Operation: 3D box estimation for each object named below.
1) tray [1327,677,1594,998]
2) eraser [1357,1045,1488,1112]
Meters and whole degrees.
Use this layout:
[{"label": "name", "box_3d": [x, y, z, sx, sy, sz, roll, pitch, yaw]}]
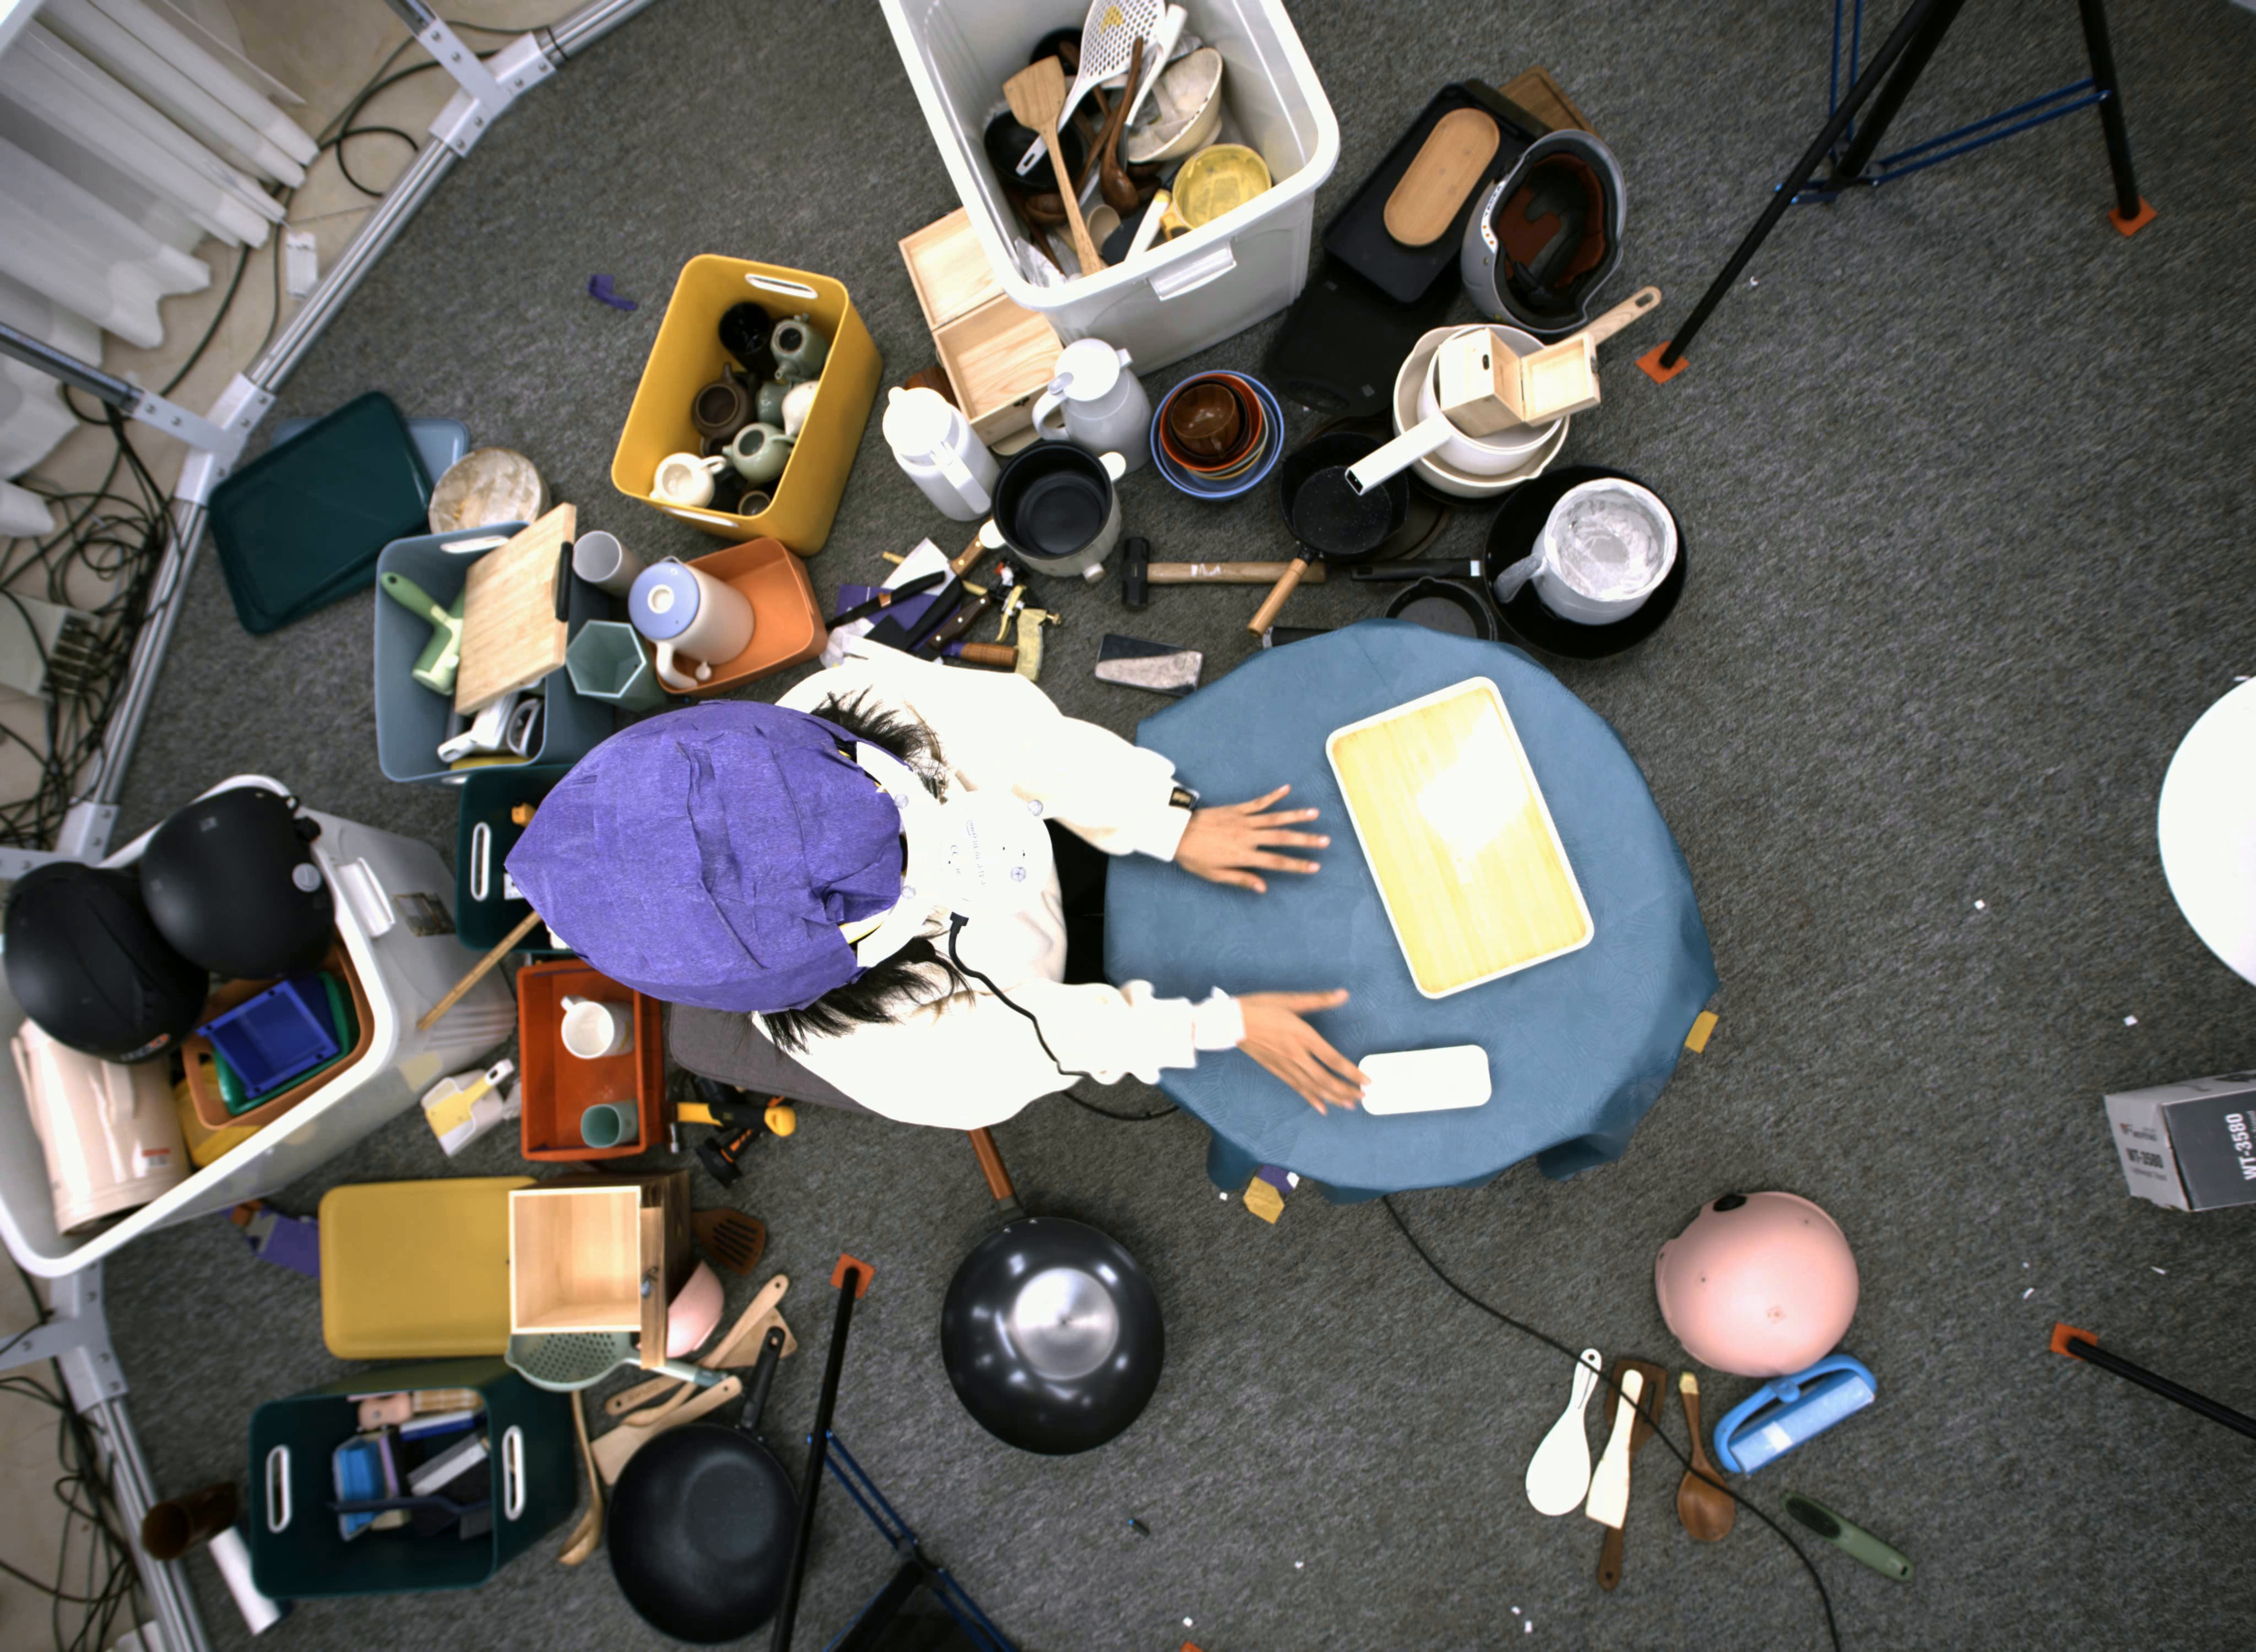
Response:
[{"label": "tray", "box_3d": [0.344, 0.010, 1.436, 0.192, 0.027, 0.298, -20, 84, 8]}, {"label": "eraser", "box_3d": [0.304, 0.258, 1.428, 0.132, 0.034, 0.063, -6, 86, 9]}]
